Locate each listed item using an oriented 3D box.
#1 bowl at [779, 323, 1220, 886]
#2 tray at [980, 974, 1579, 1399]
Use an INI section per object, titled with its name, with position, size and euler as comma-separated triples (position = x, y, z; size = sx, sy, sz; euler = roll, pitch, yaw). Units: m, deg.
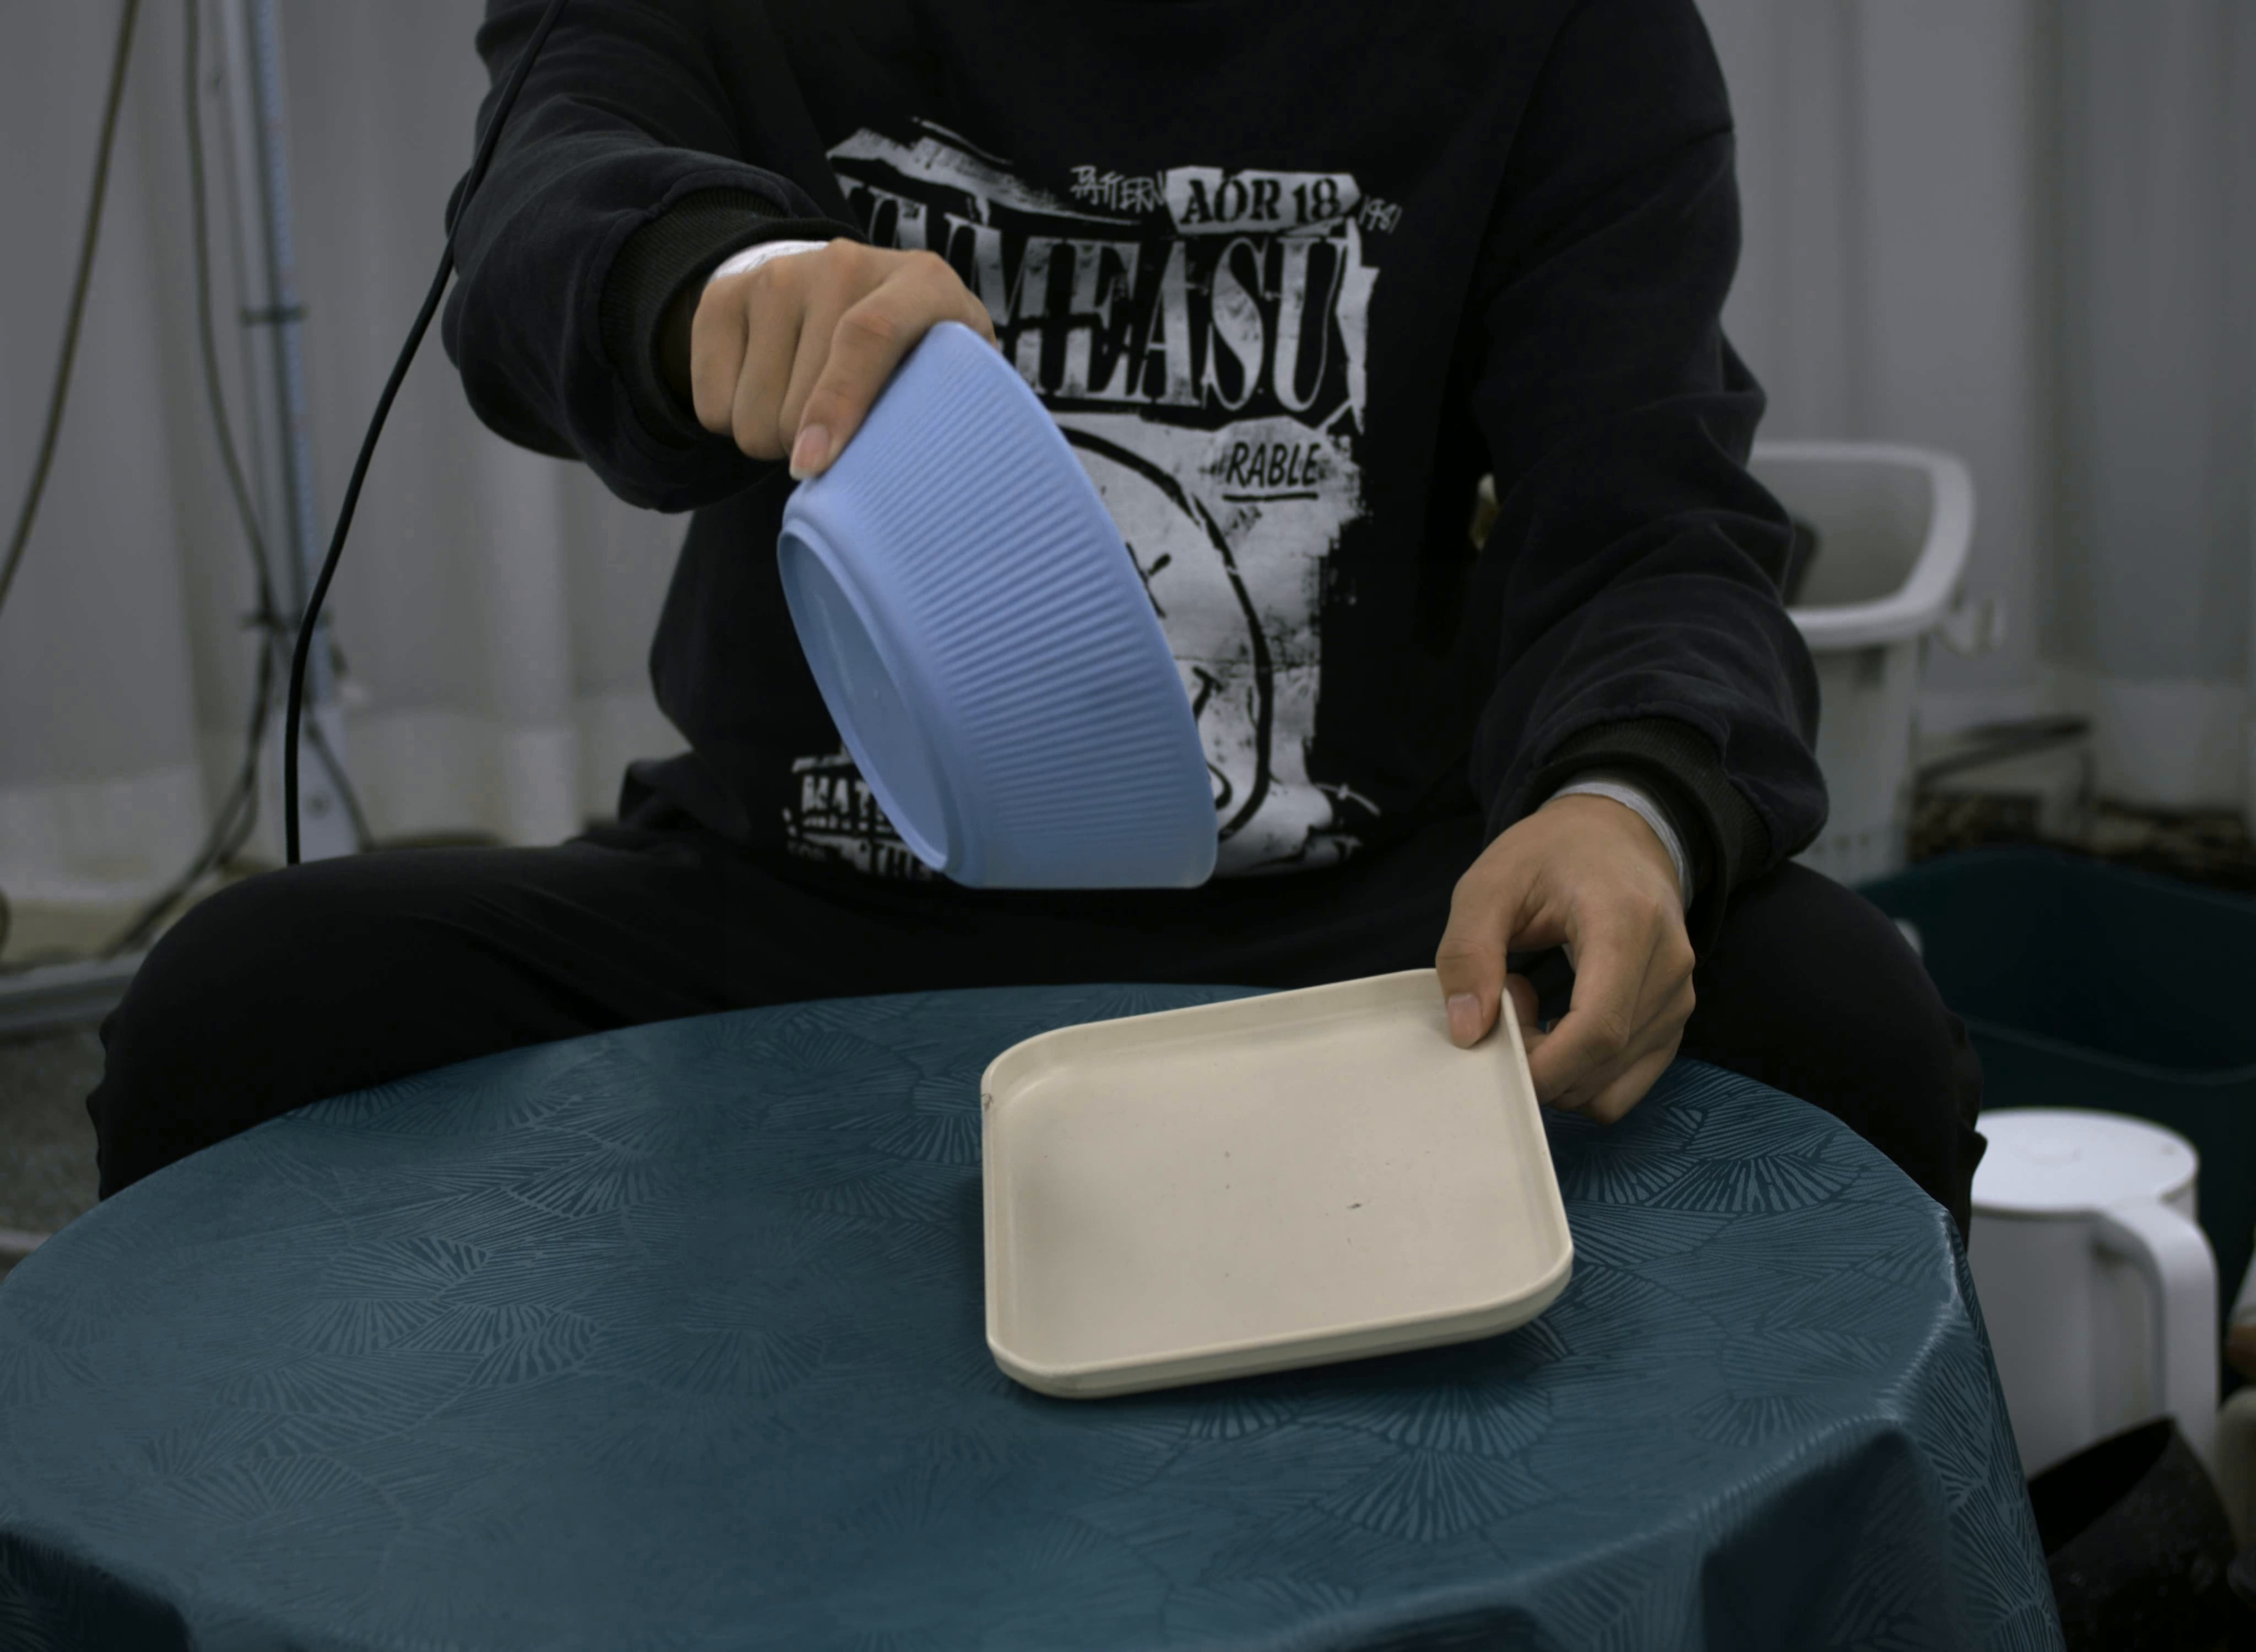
[bowl]
position = -0.045, -0.050, 1.556
size = 0.070, 0.175, 0.177
euler = -25, 20, -13
[tray]
position = 0.042, 0.106, 1.636
size = 0.171, 0.017, 0.242
euler = -8, 21, 1
